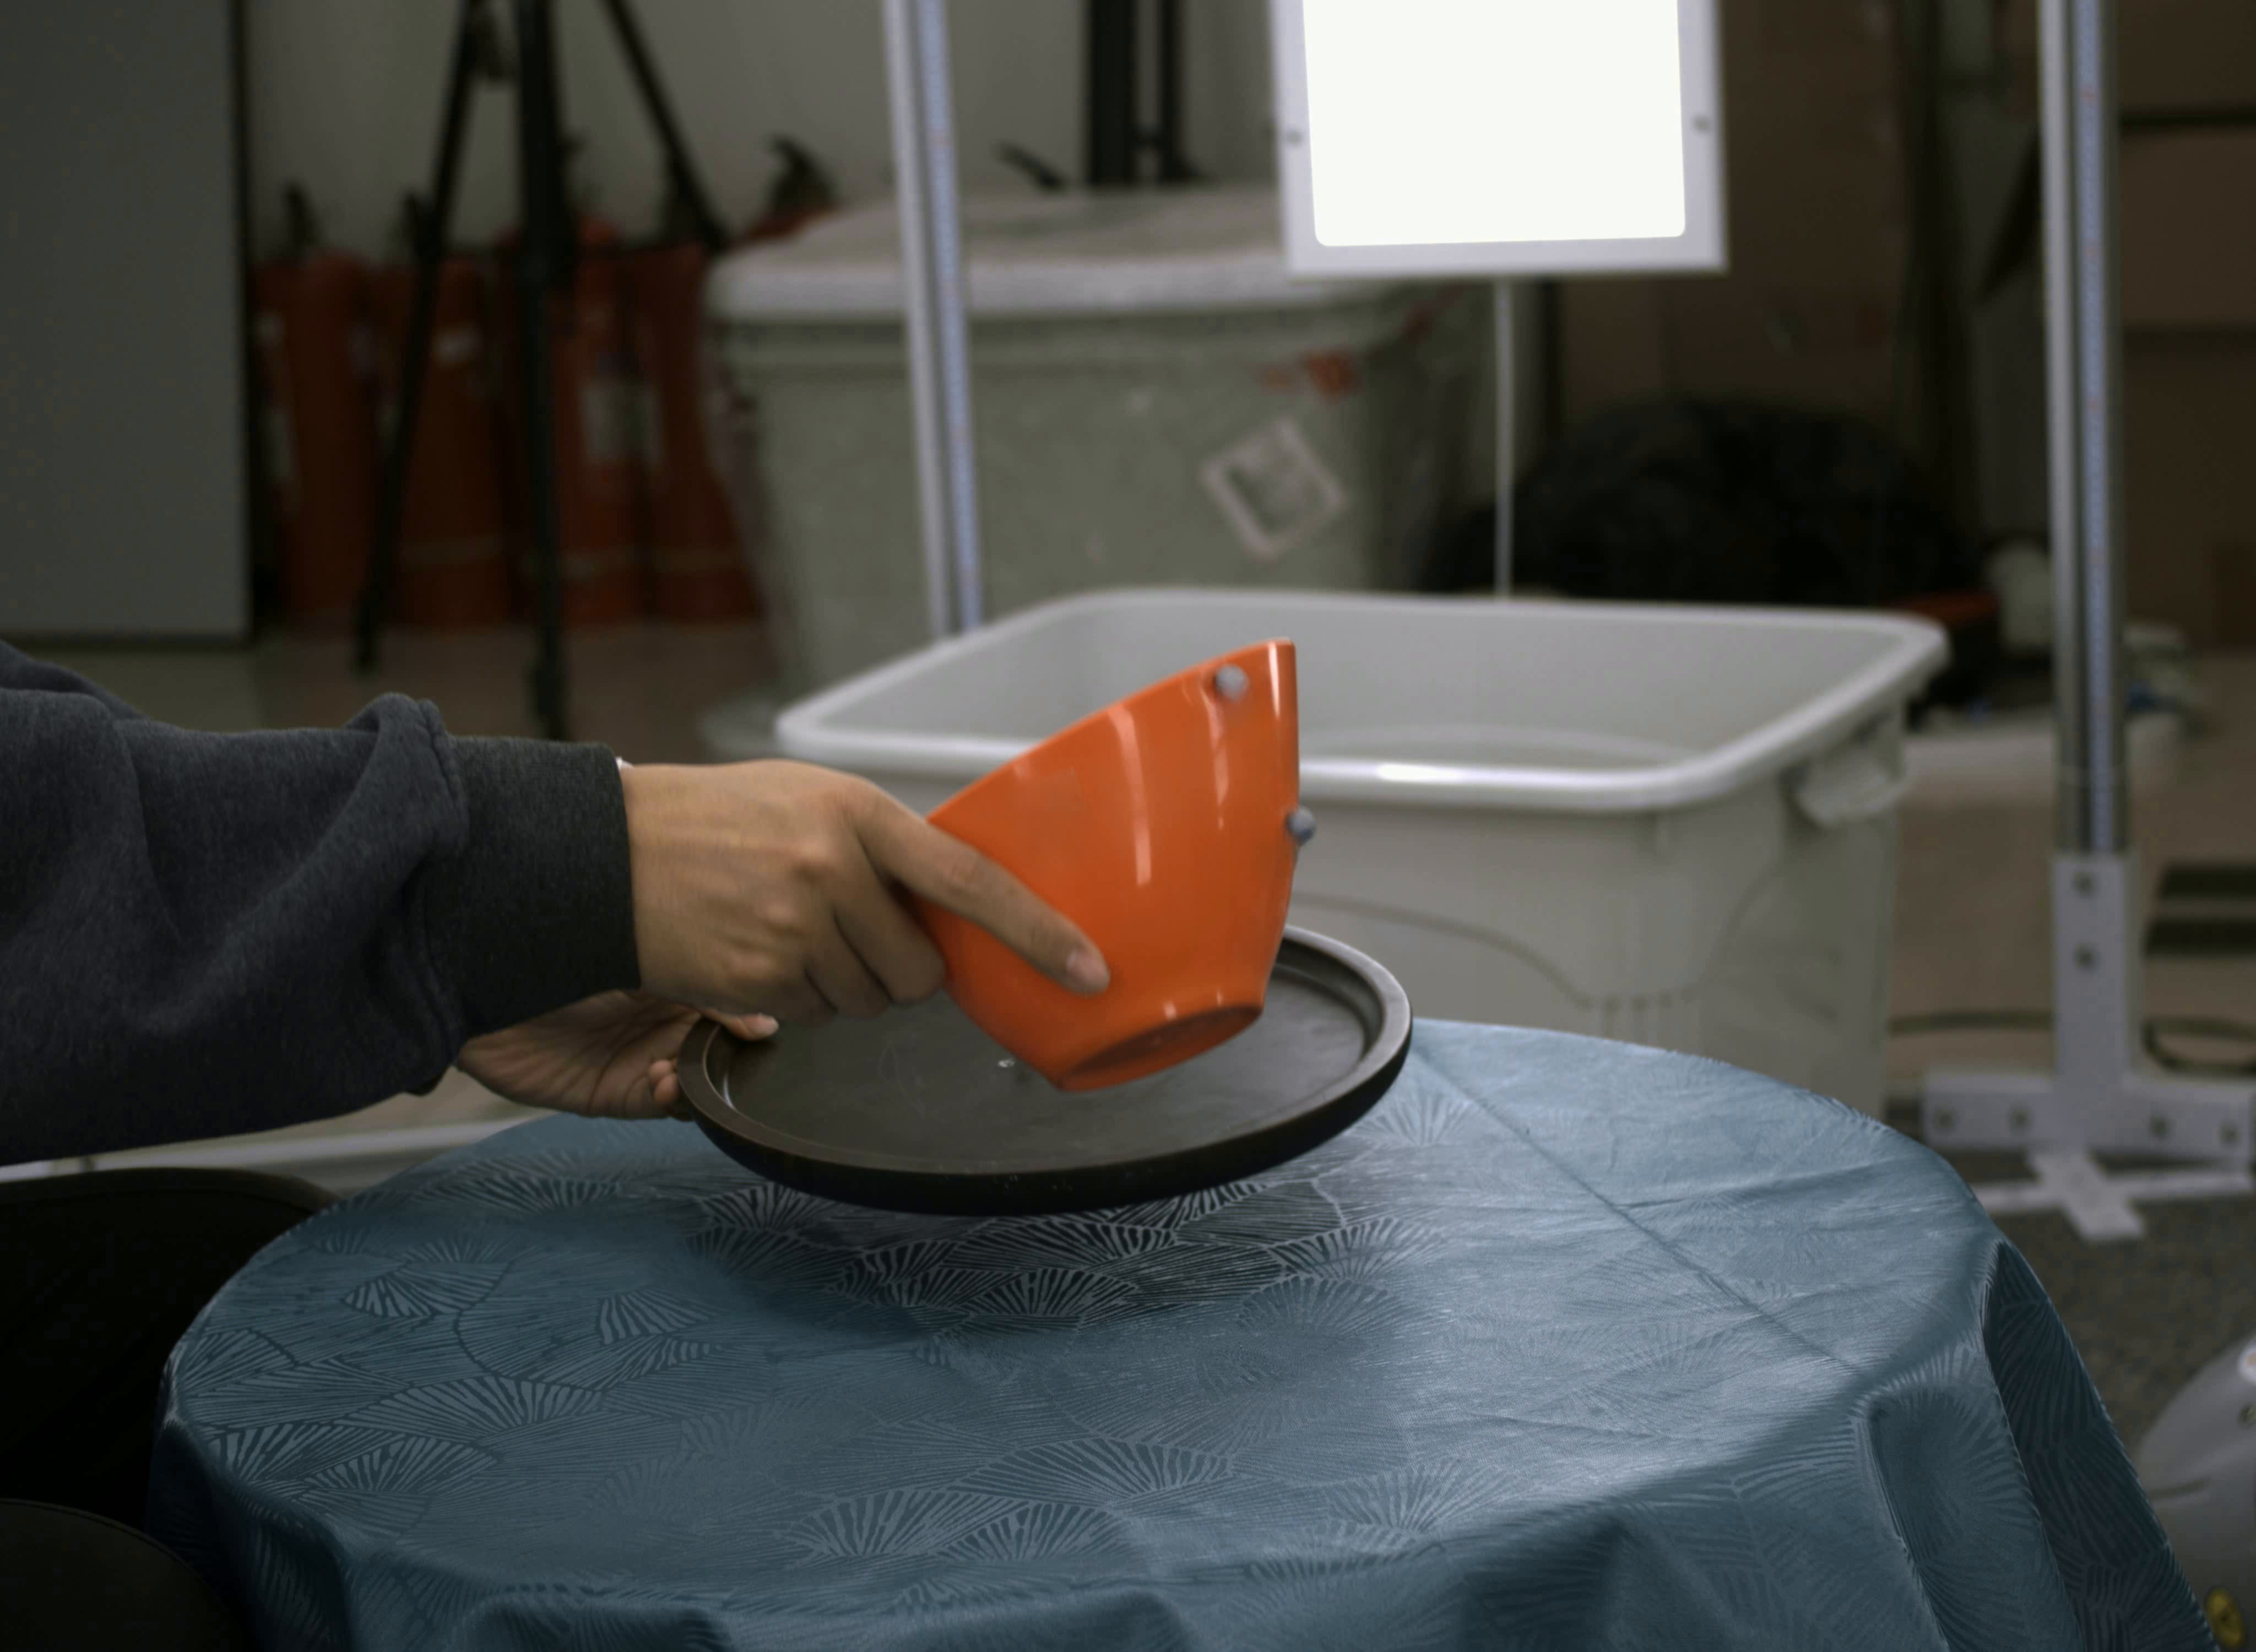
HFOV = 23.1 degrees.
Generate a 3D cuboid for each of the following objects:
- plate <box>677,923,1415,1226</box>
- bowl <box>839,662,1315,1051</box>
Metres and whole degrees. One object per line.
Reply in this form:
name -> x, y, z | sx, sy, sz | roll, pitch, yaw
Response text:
plate -> -0.028, 0.081, 1.881 | 0.254, 0.029, 0.254 | -5, 20, 0
bowl -> -0.009, 0.011, 1.651 | 0.147, 0.105, 0.148 | -8, -1, -2
